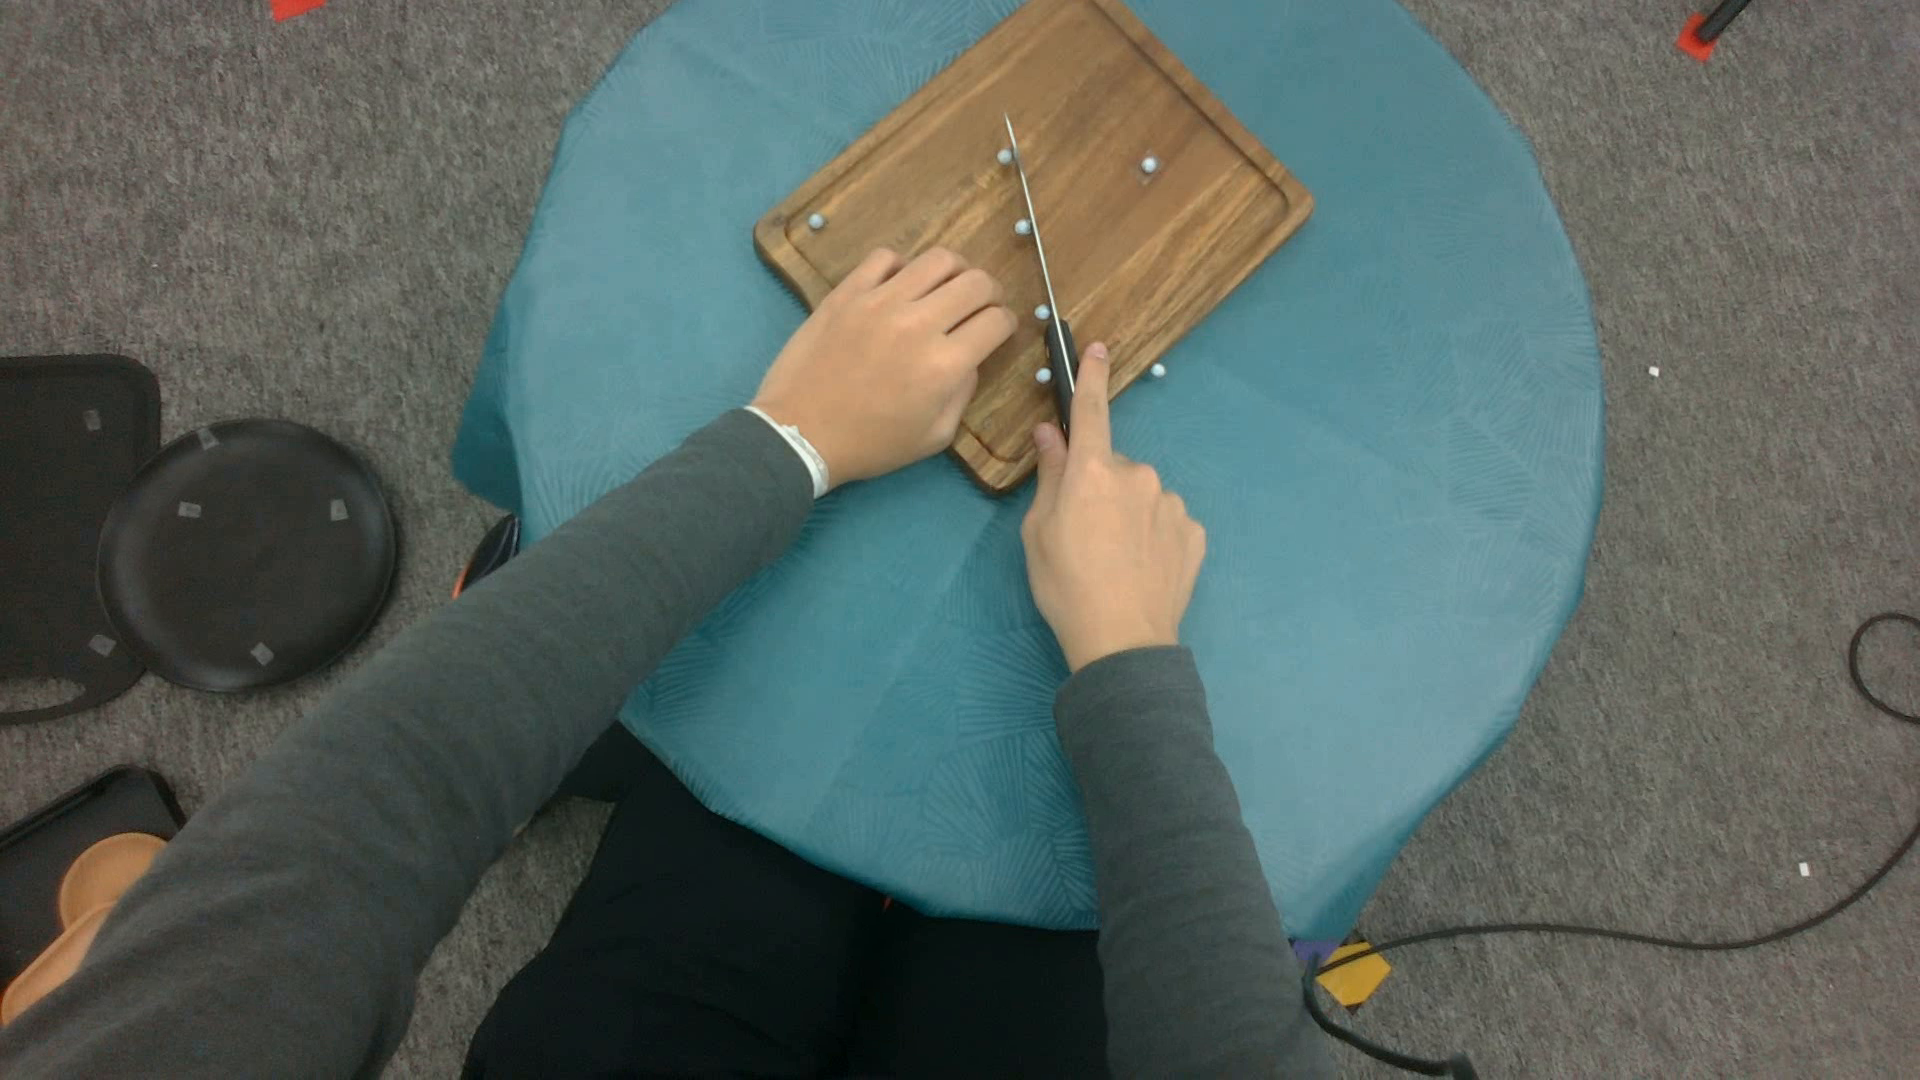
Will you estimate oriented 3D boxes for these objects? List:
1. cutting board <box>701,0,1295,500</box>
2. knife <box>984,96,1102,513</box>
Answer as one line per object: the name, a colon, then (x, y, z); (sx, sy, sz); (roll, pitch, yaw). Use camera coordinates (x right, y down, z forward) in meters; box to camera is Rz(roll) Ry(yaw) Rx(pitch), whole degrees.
cutting board: (-0.002, -0.147, 0.735); (0.353, 0.023, 0.201); (-43, 86, -13)
knife: (0.040, -0.129, 0.717); (0.016, 0.024, 0.238); (-10, 76, -14)
